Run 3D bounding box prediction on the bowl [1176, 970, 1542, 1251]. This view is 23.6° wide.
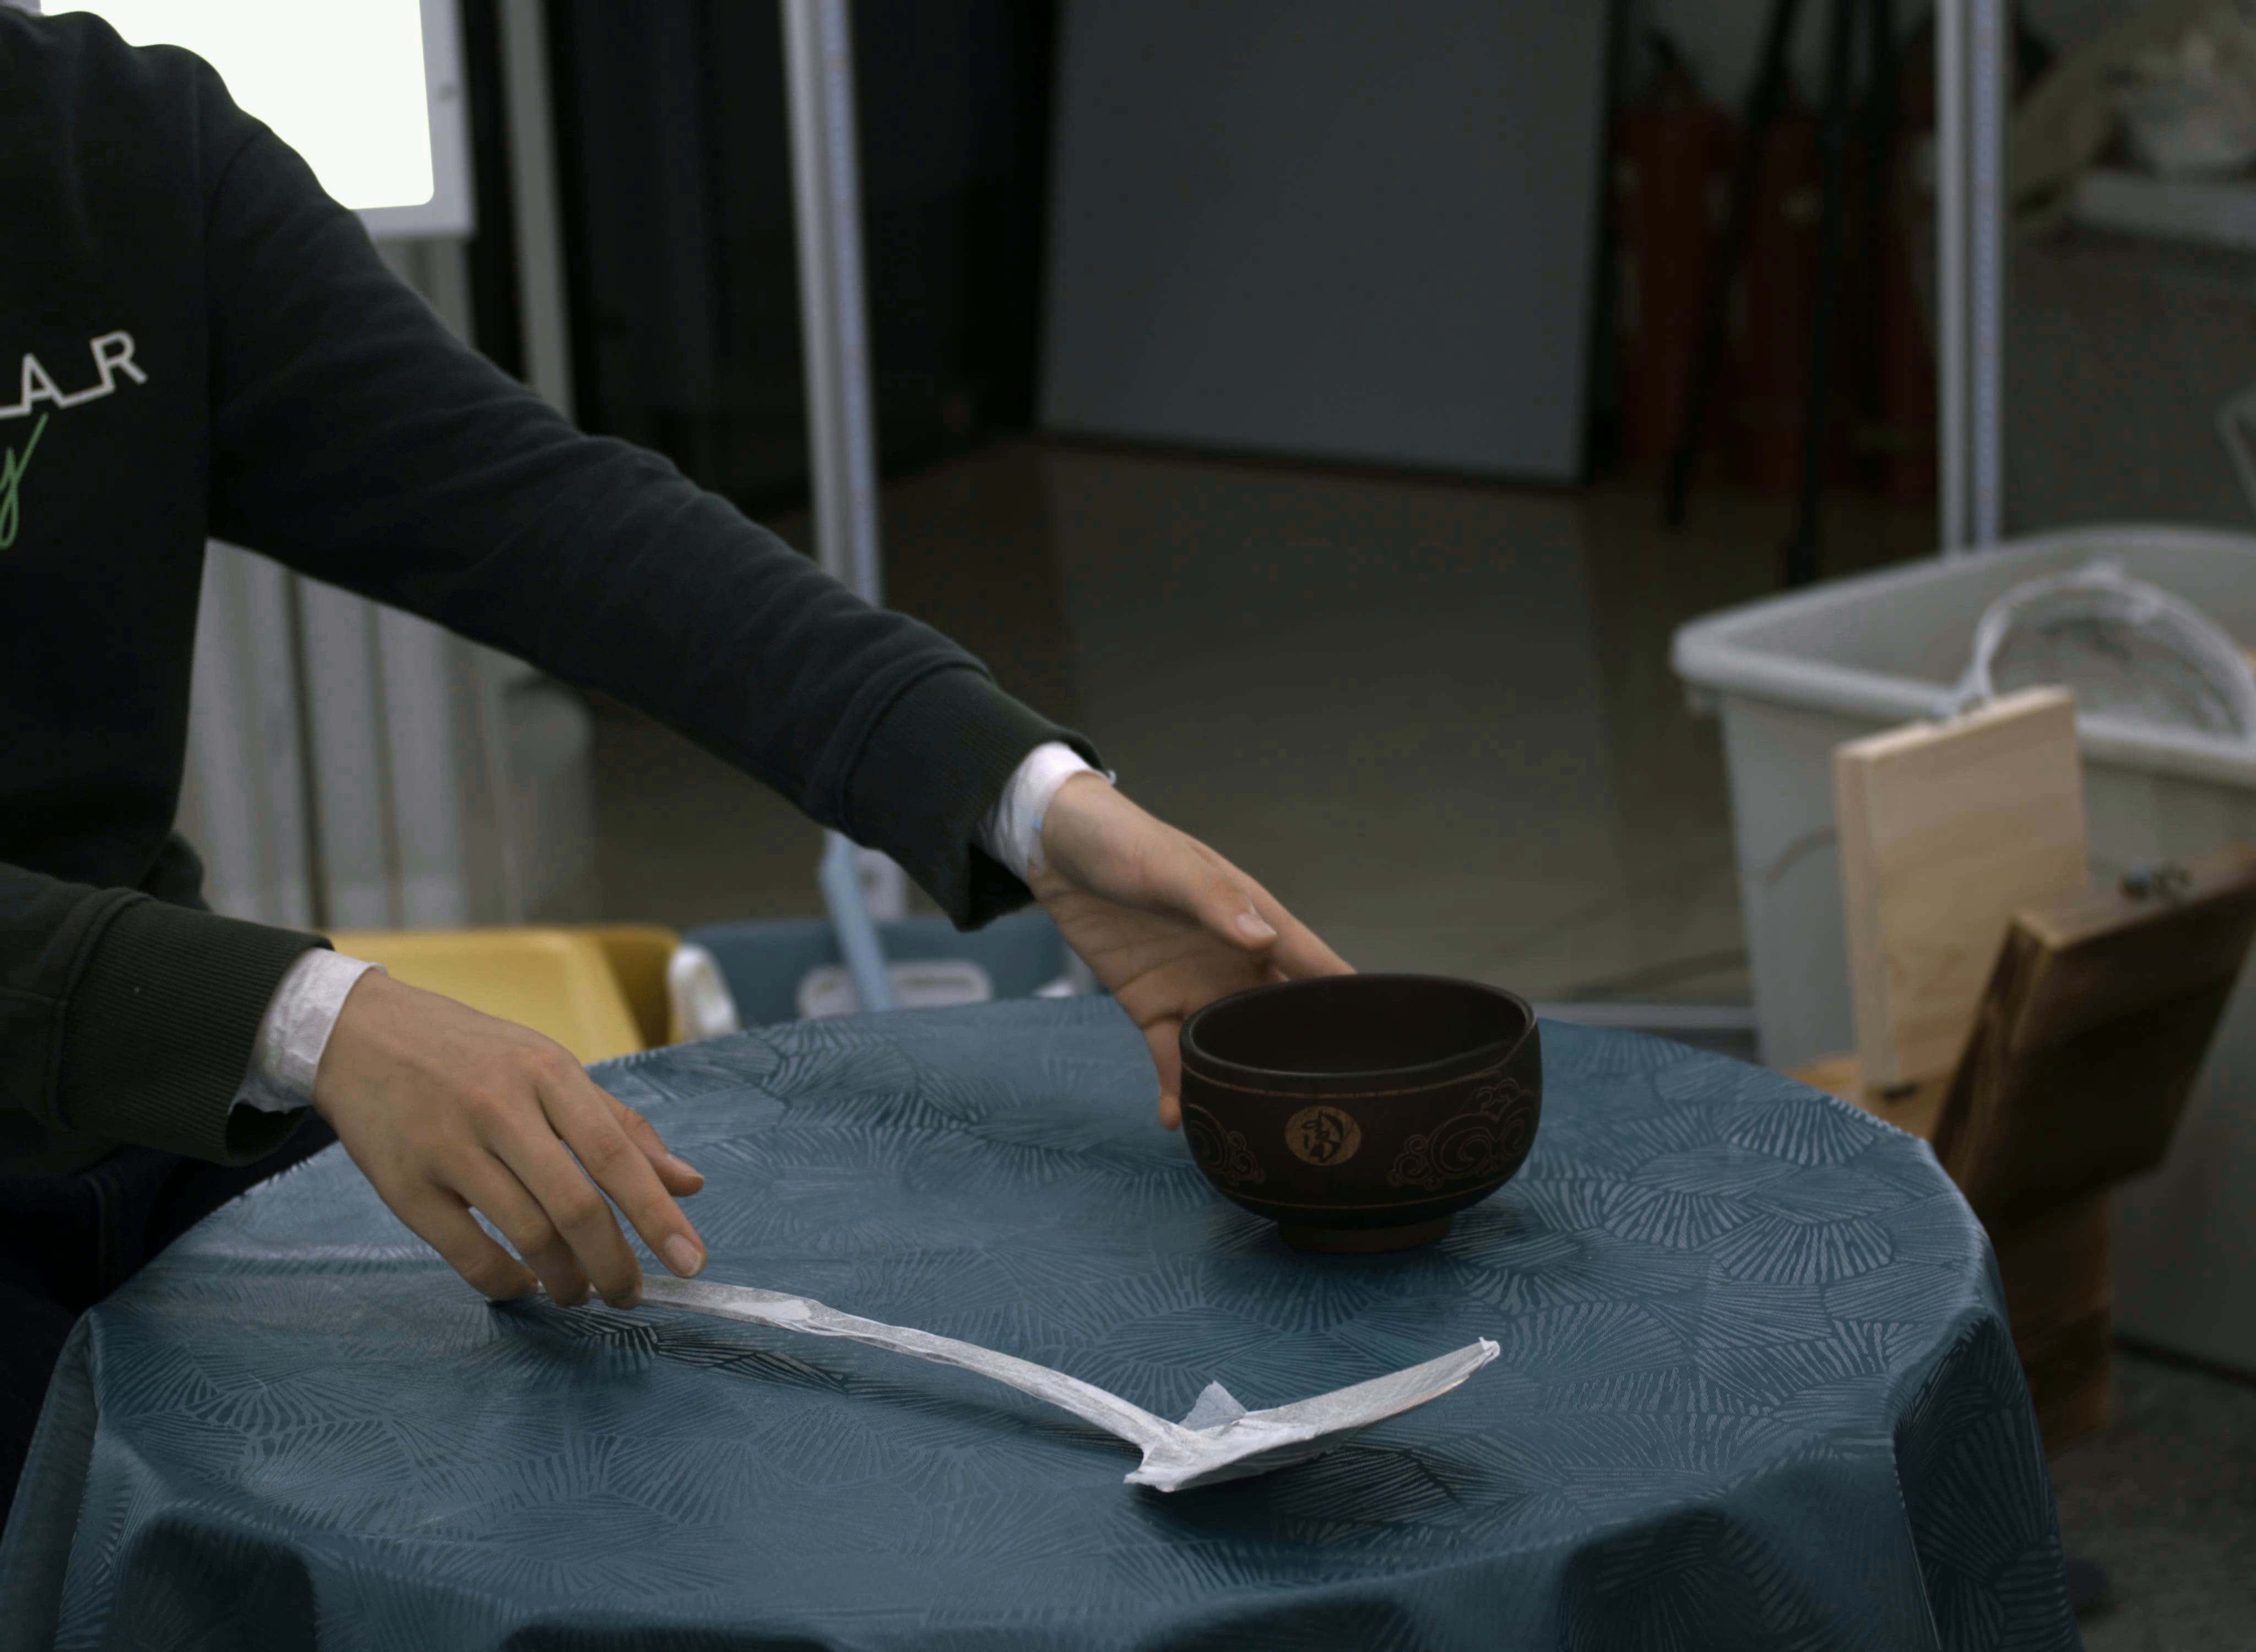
[{"bbox_3d":[0.074,0.093,1.712,0.116,0.070,0.118,-3,12,0],"label":"bowl"}]

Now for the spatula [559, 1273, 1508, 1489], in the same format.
[{"bbox_3d":[-0.049,0.151,1.585,0.368,0.045,0.097,9,21,41],"label":"spatula"}]
